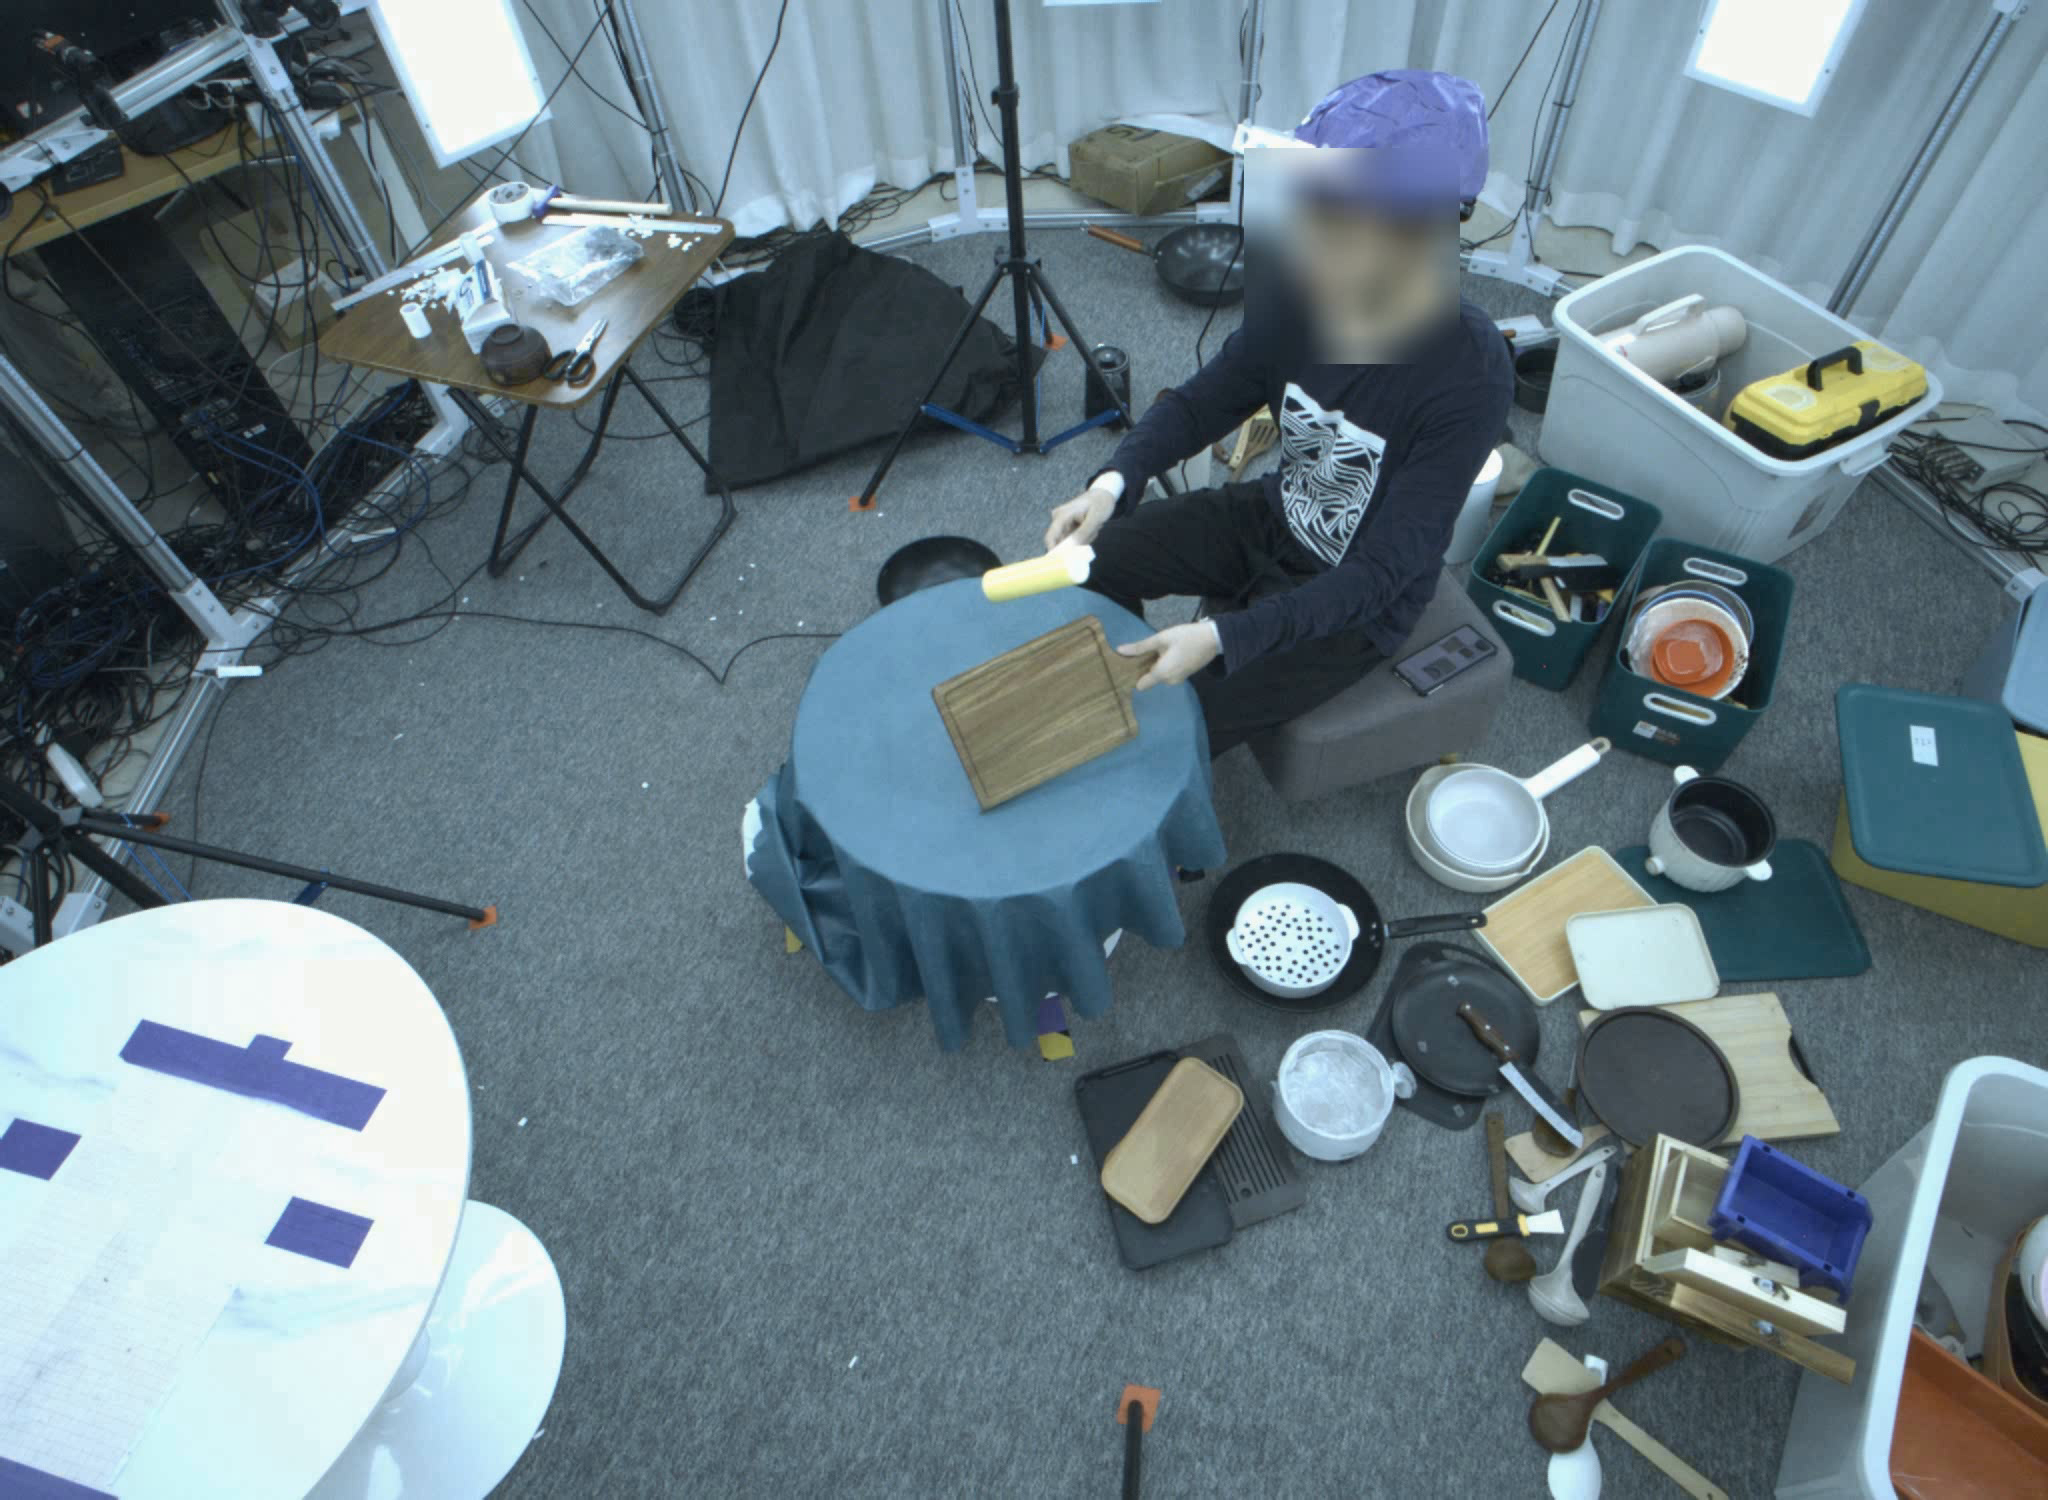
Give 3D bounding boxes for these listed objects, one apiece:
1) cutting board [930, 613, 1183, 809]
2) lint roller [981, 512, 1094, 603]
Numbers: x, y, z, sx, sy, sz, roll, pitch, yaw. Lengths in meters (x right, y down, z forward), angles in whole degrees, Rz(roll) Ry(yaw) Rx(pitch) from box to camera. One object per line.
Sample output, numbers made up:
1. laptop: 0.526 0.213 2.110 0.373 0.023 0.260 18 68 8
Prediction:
1. cutting board: 0.063 -0.073 1.711 0.354 0.204 0.023 -26 28 -8
2. lint roller: 0.043 -0.290 1.738 0.171 0.052 0.192 -6 43 41
